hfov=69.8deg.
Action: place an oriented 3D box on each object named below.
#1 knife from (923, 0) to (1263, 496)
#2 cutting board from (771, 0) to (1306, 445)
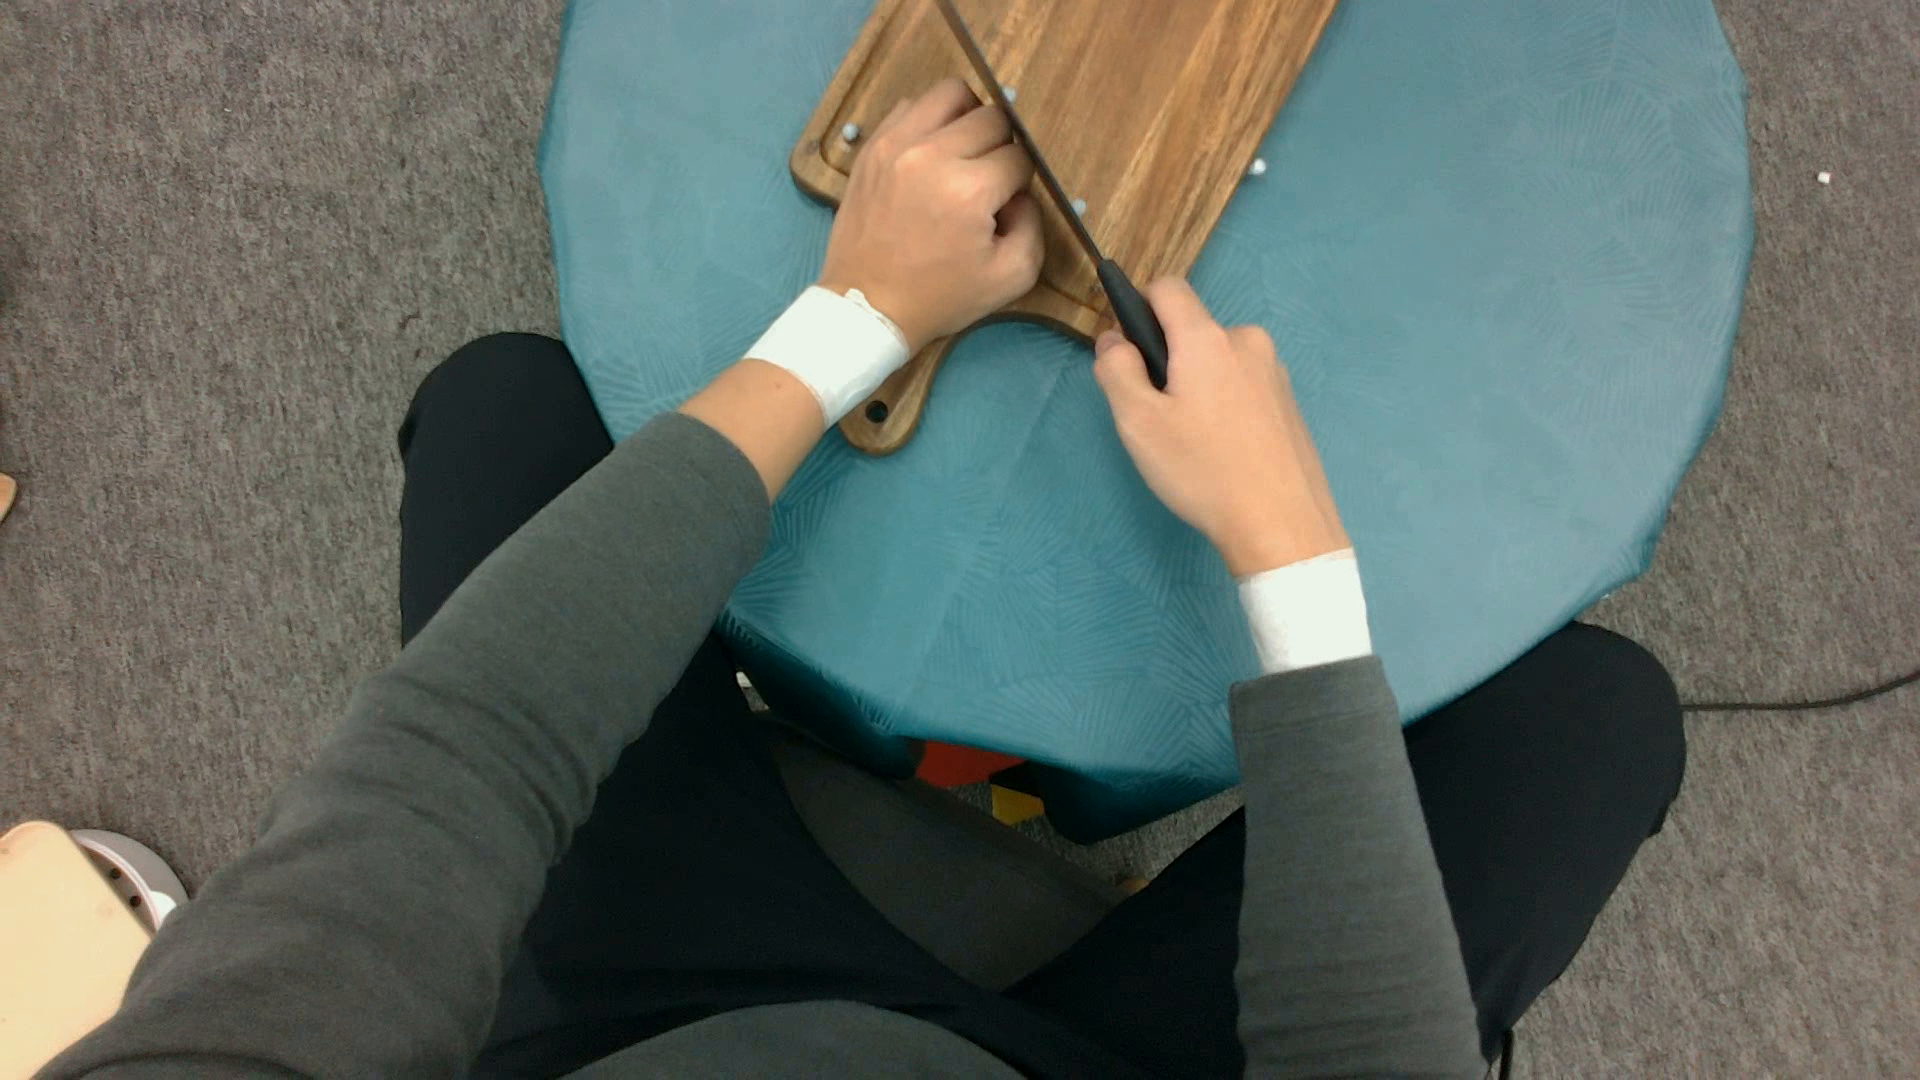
[{"bbox_3d":[0.047,-0.149,0.619,0.021,0.081,0.302,-33,87,12],"label":"knife"},{"bbox_3d":[0.027,-0.204,0.673,0.201,0.023,0.352,28,85,1],"label":"cutting board"}]
